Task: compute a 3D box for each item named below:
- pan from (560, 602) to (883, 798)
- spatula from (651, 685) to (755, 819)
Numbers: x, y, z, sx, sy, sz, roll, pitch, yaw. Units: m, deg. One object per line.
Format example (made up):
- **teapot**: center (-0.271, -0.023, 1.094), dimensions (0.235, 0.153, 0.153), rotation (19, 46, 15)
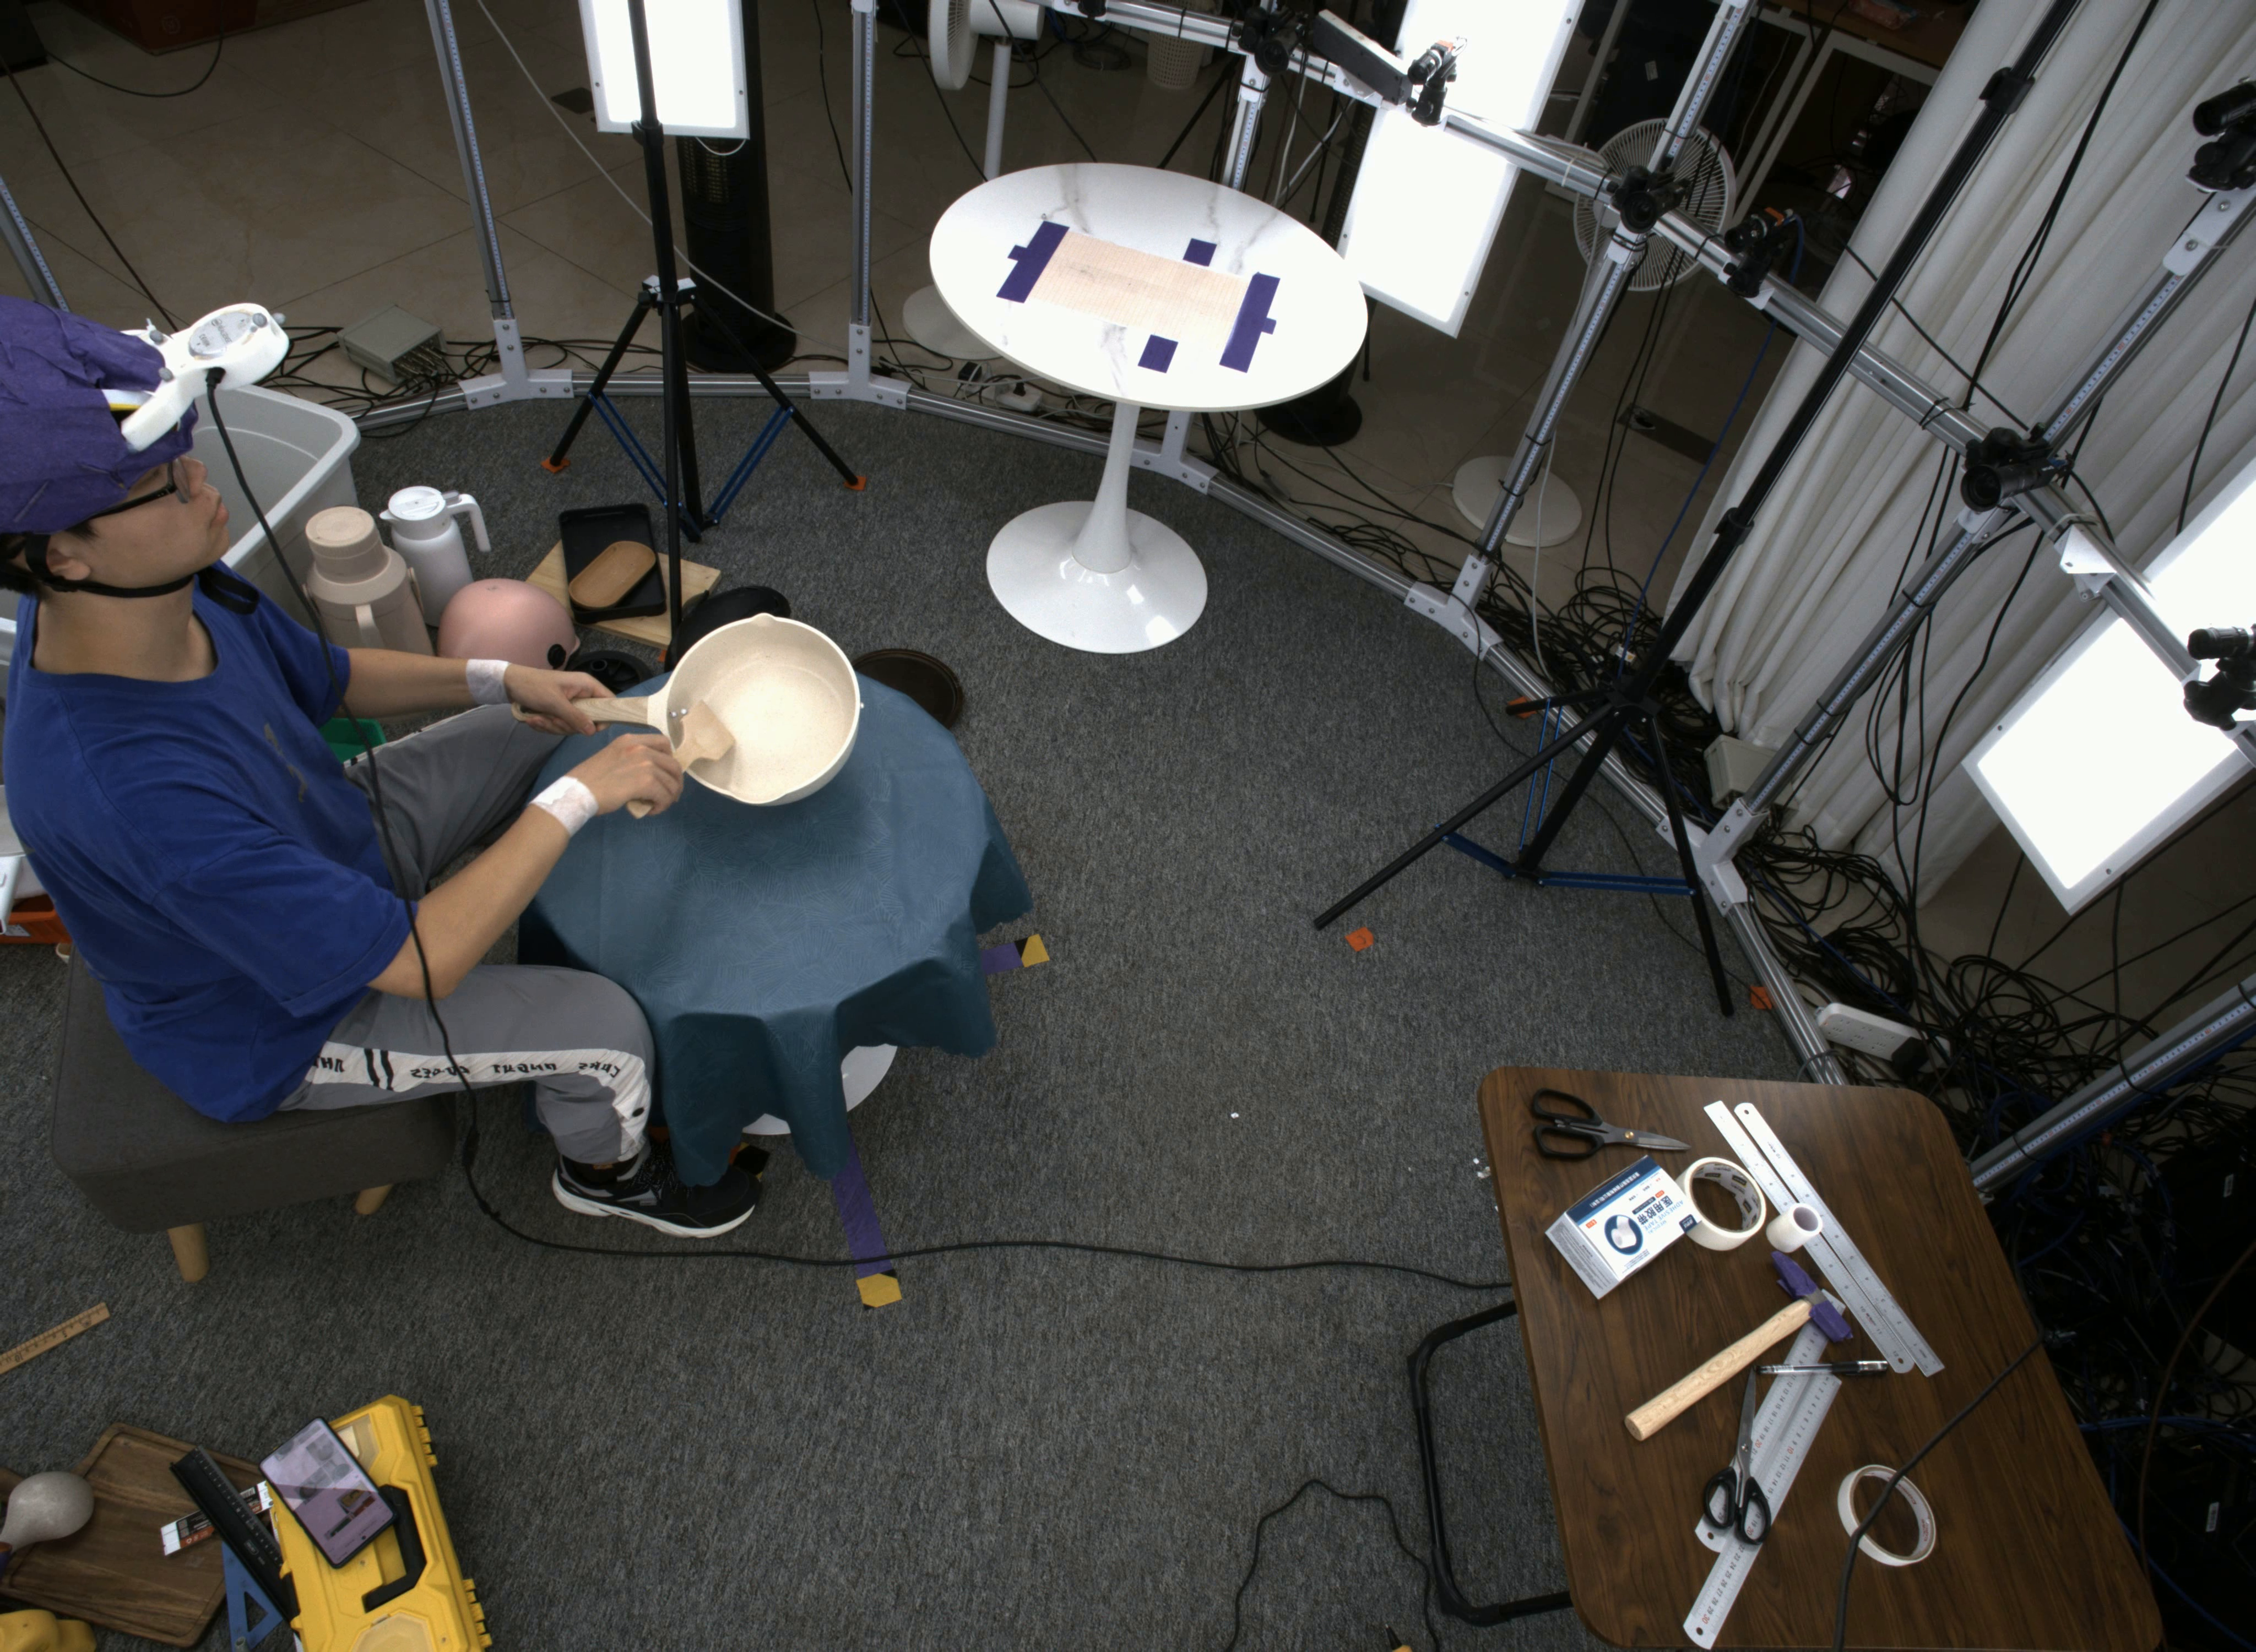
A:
- **pan**: center (-0.532, -0.151, 1.683), dimensions (0.432, 0.103, 0.263), rotation (-3, 76, -5)
- **spatula**: center (-0.520, -0.090, 1.569), dimensions (0.010, 0.074, 0.288), rotation (-26, 25, 18)
